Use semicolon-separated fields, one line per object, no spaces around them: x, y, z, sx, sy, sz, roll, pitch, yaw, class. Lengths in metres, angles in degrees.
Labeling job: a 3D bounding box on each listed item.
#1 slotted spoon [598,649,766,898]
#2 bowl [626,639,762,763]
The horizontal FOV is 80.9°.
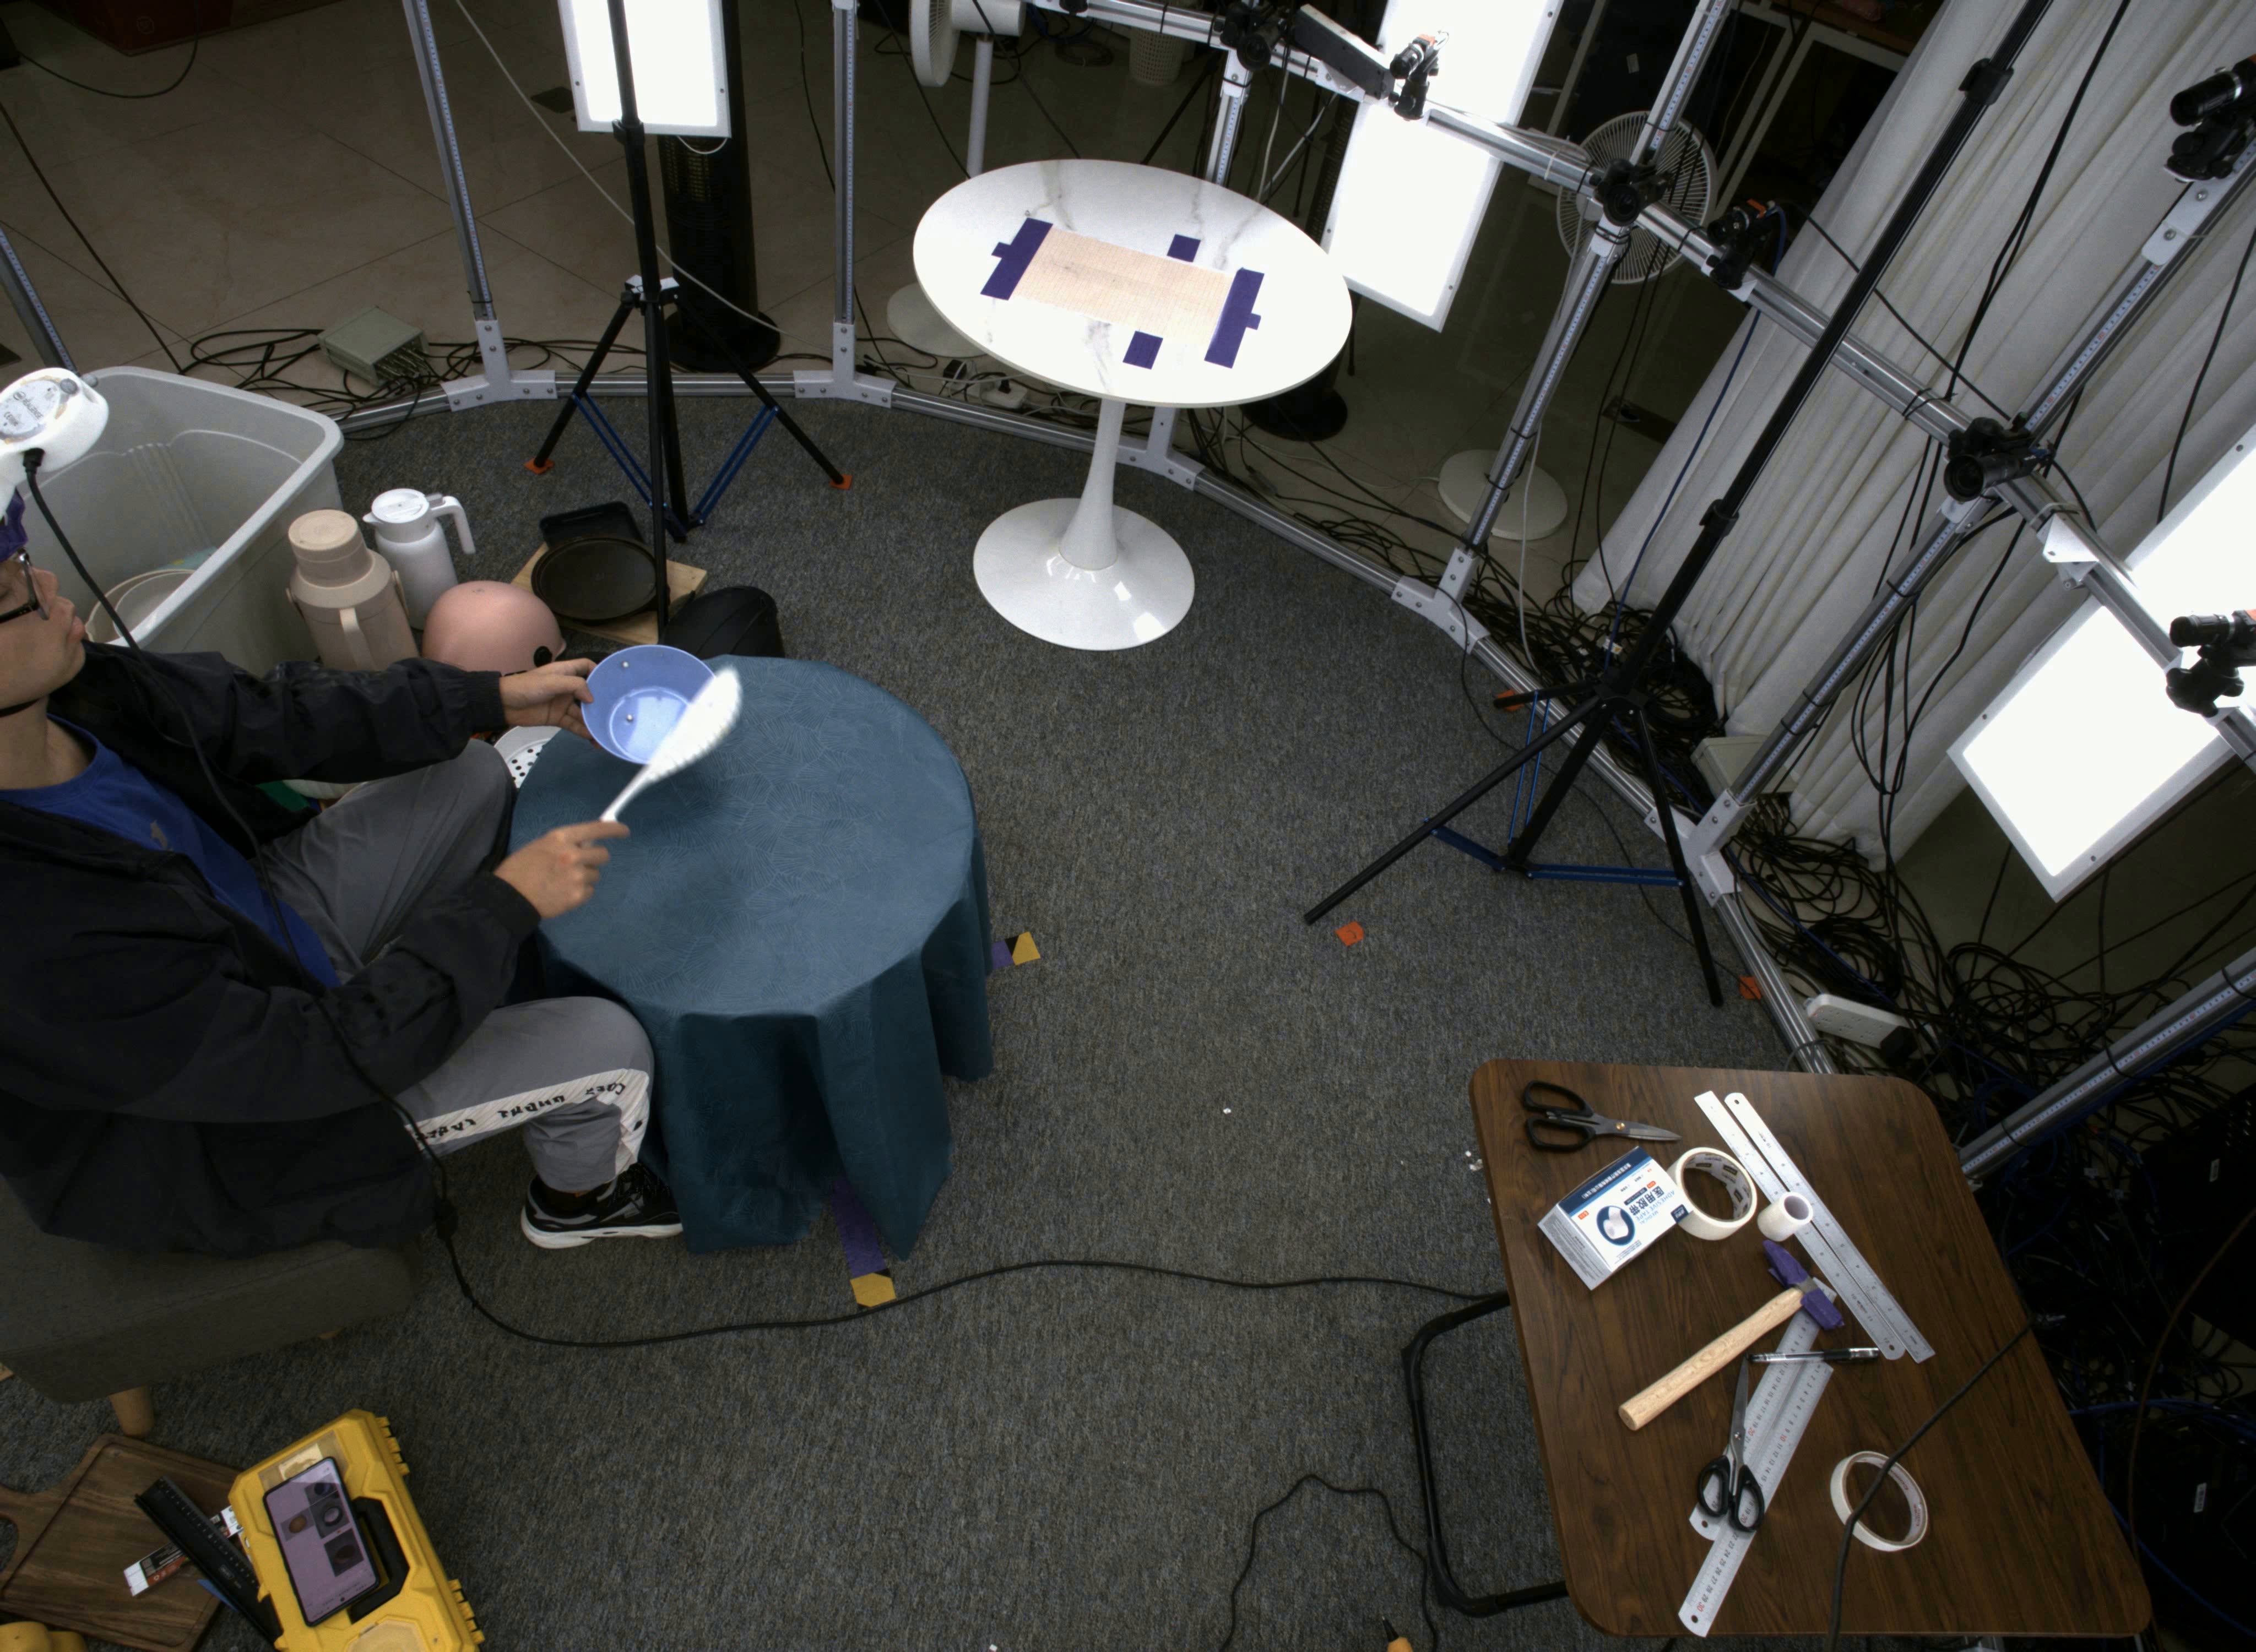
-0.527;-0.064;1.510;0.051;0.135;0.347;40;66;-8;slotted spoon
-0.569;-0.151;1.683;0.177;0.070;0.174;8;65;-16;bowl
